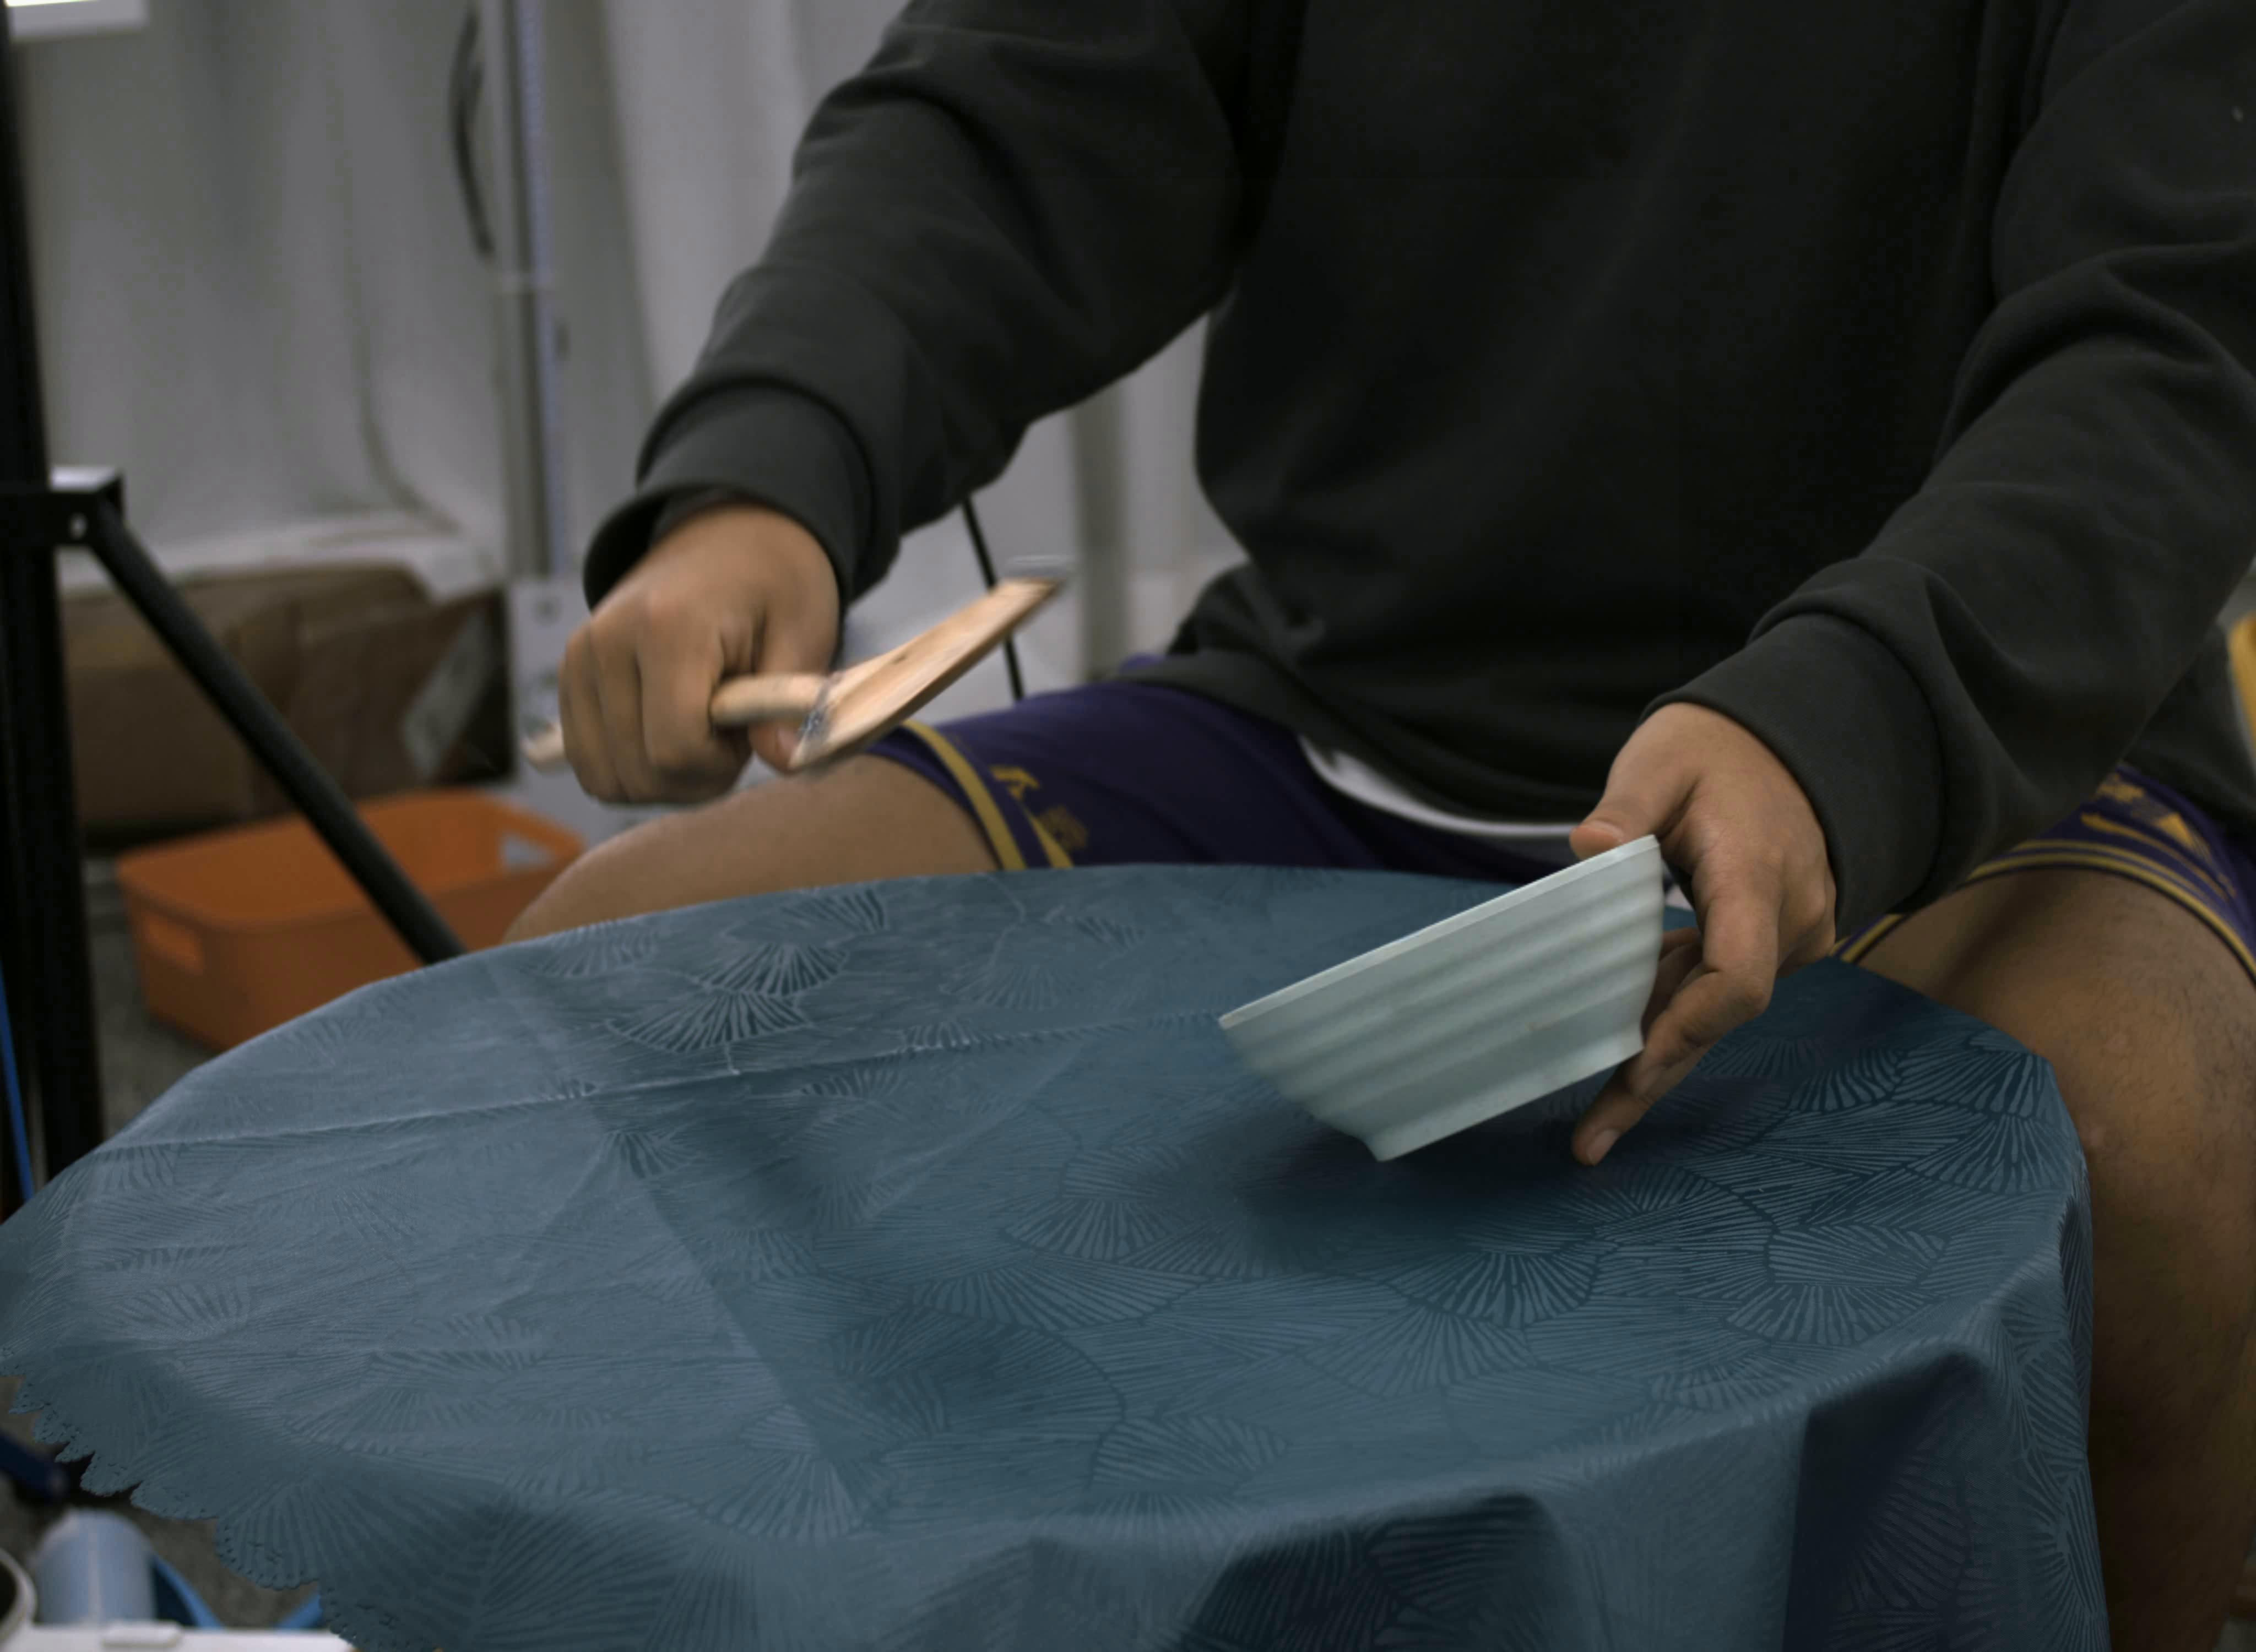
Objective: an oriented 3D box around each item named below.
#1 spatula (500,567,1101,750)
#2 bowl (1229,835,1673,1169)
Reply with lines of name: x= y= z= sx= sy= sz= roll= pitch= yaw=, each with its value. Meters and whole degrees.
spatula: x=-0.122 y=-0.042 z=1.641 sx=0.094 sy=0.018 sz=0.397 roll=-30 pitch=12 yaw=-24
bowl: x=0.104 y=0.057 z=1.552 sx=0.151 sy=0.059 sz=0.151 roll=-23 pitch=-1 yaw=-2
